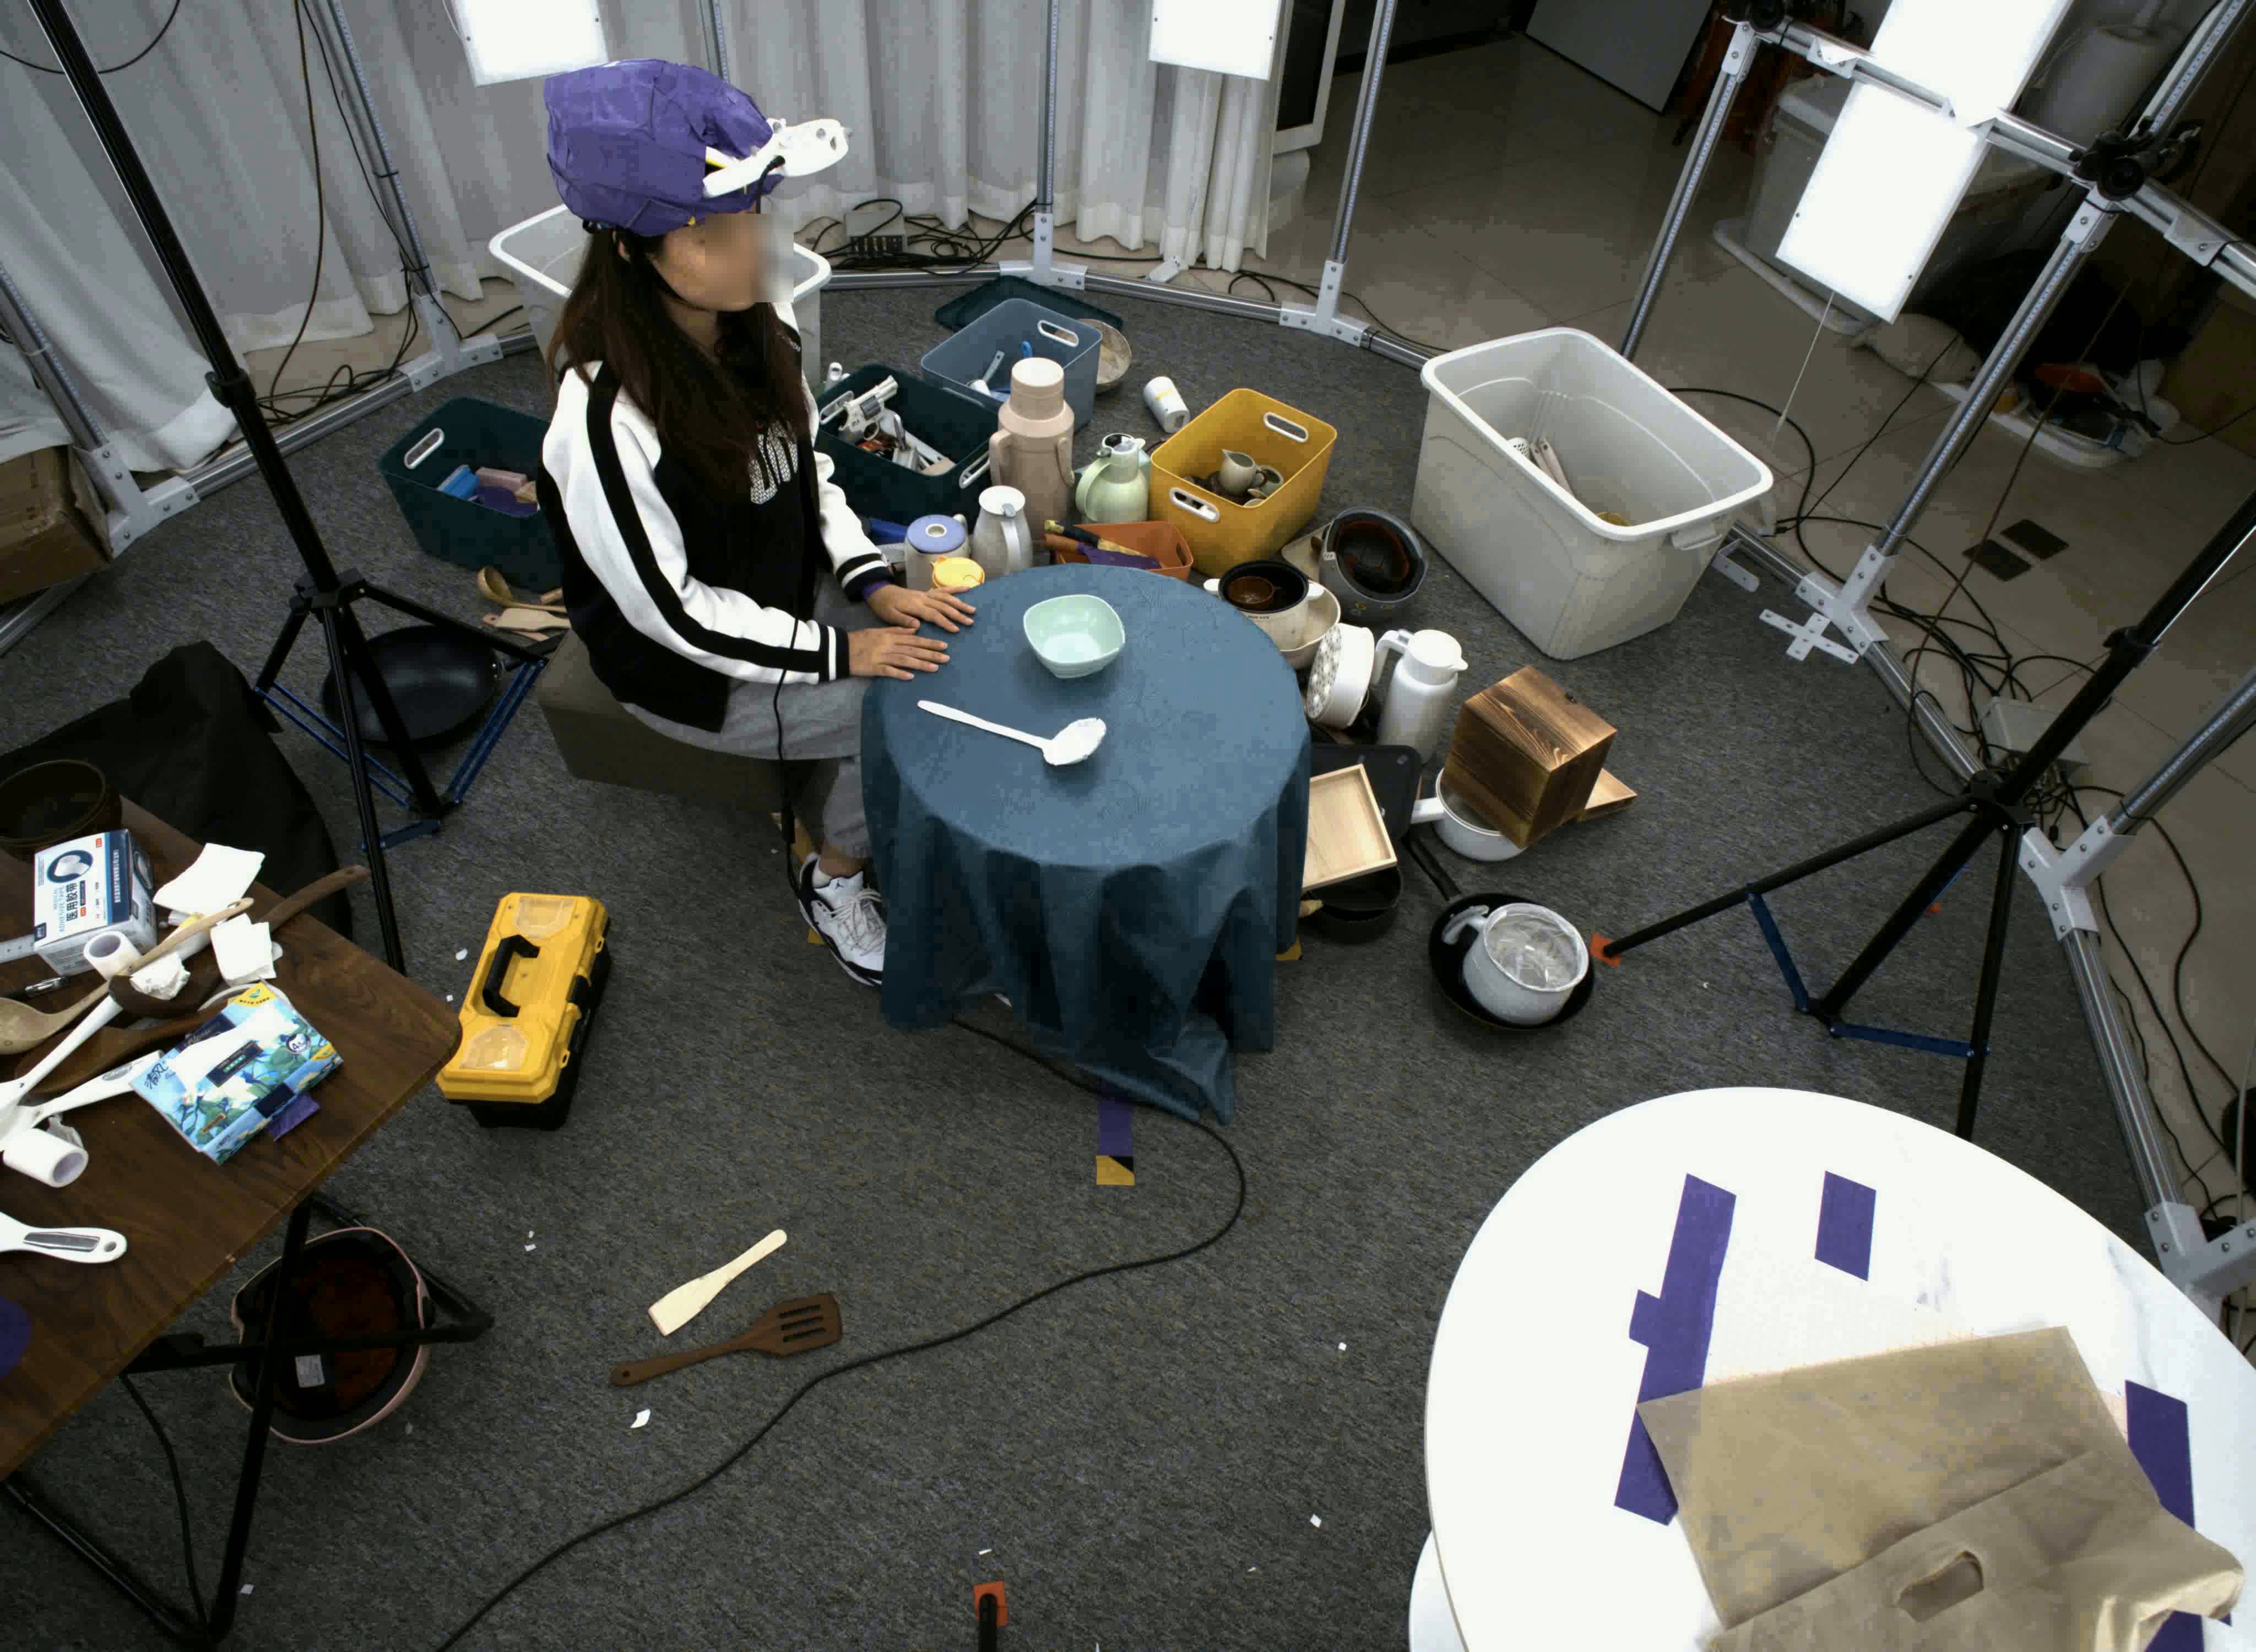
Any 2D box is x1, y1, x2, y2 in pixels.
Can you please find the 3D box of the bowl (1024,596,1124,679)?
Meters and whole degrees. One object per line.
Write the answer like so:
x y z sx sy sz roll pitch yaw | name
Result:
-0.079 -0.264 1.859 0.151 0.057 0.155 2 49 -3 | bowl

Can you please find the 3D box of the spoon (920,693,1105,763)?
-0.161 -0.152 1.754 0.279 0.058 0.102 22 47 15 | spoon
